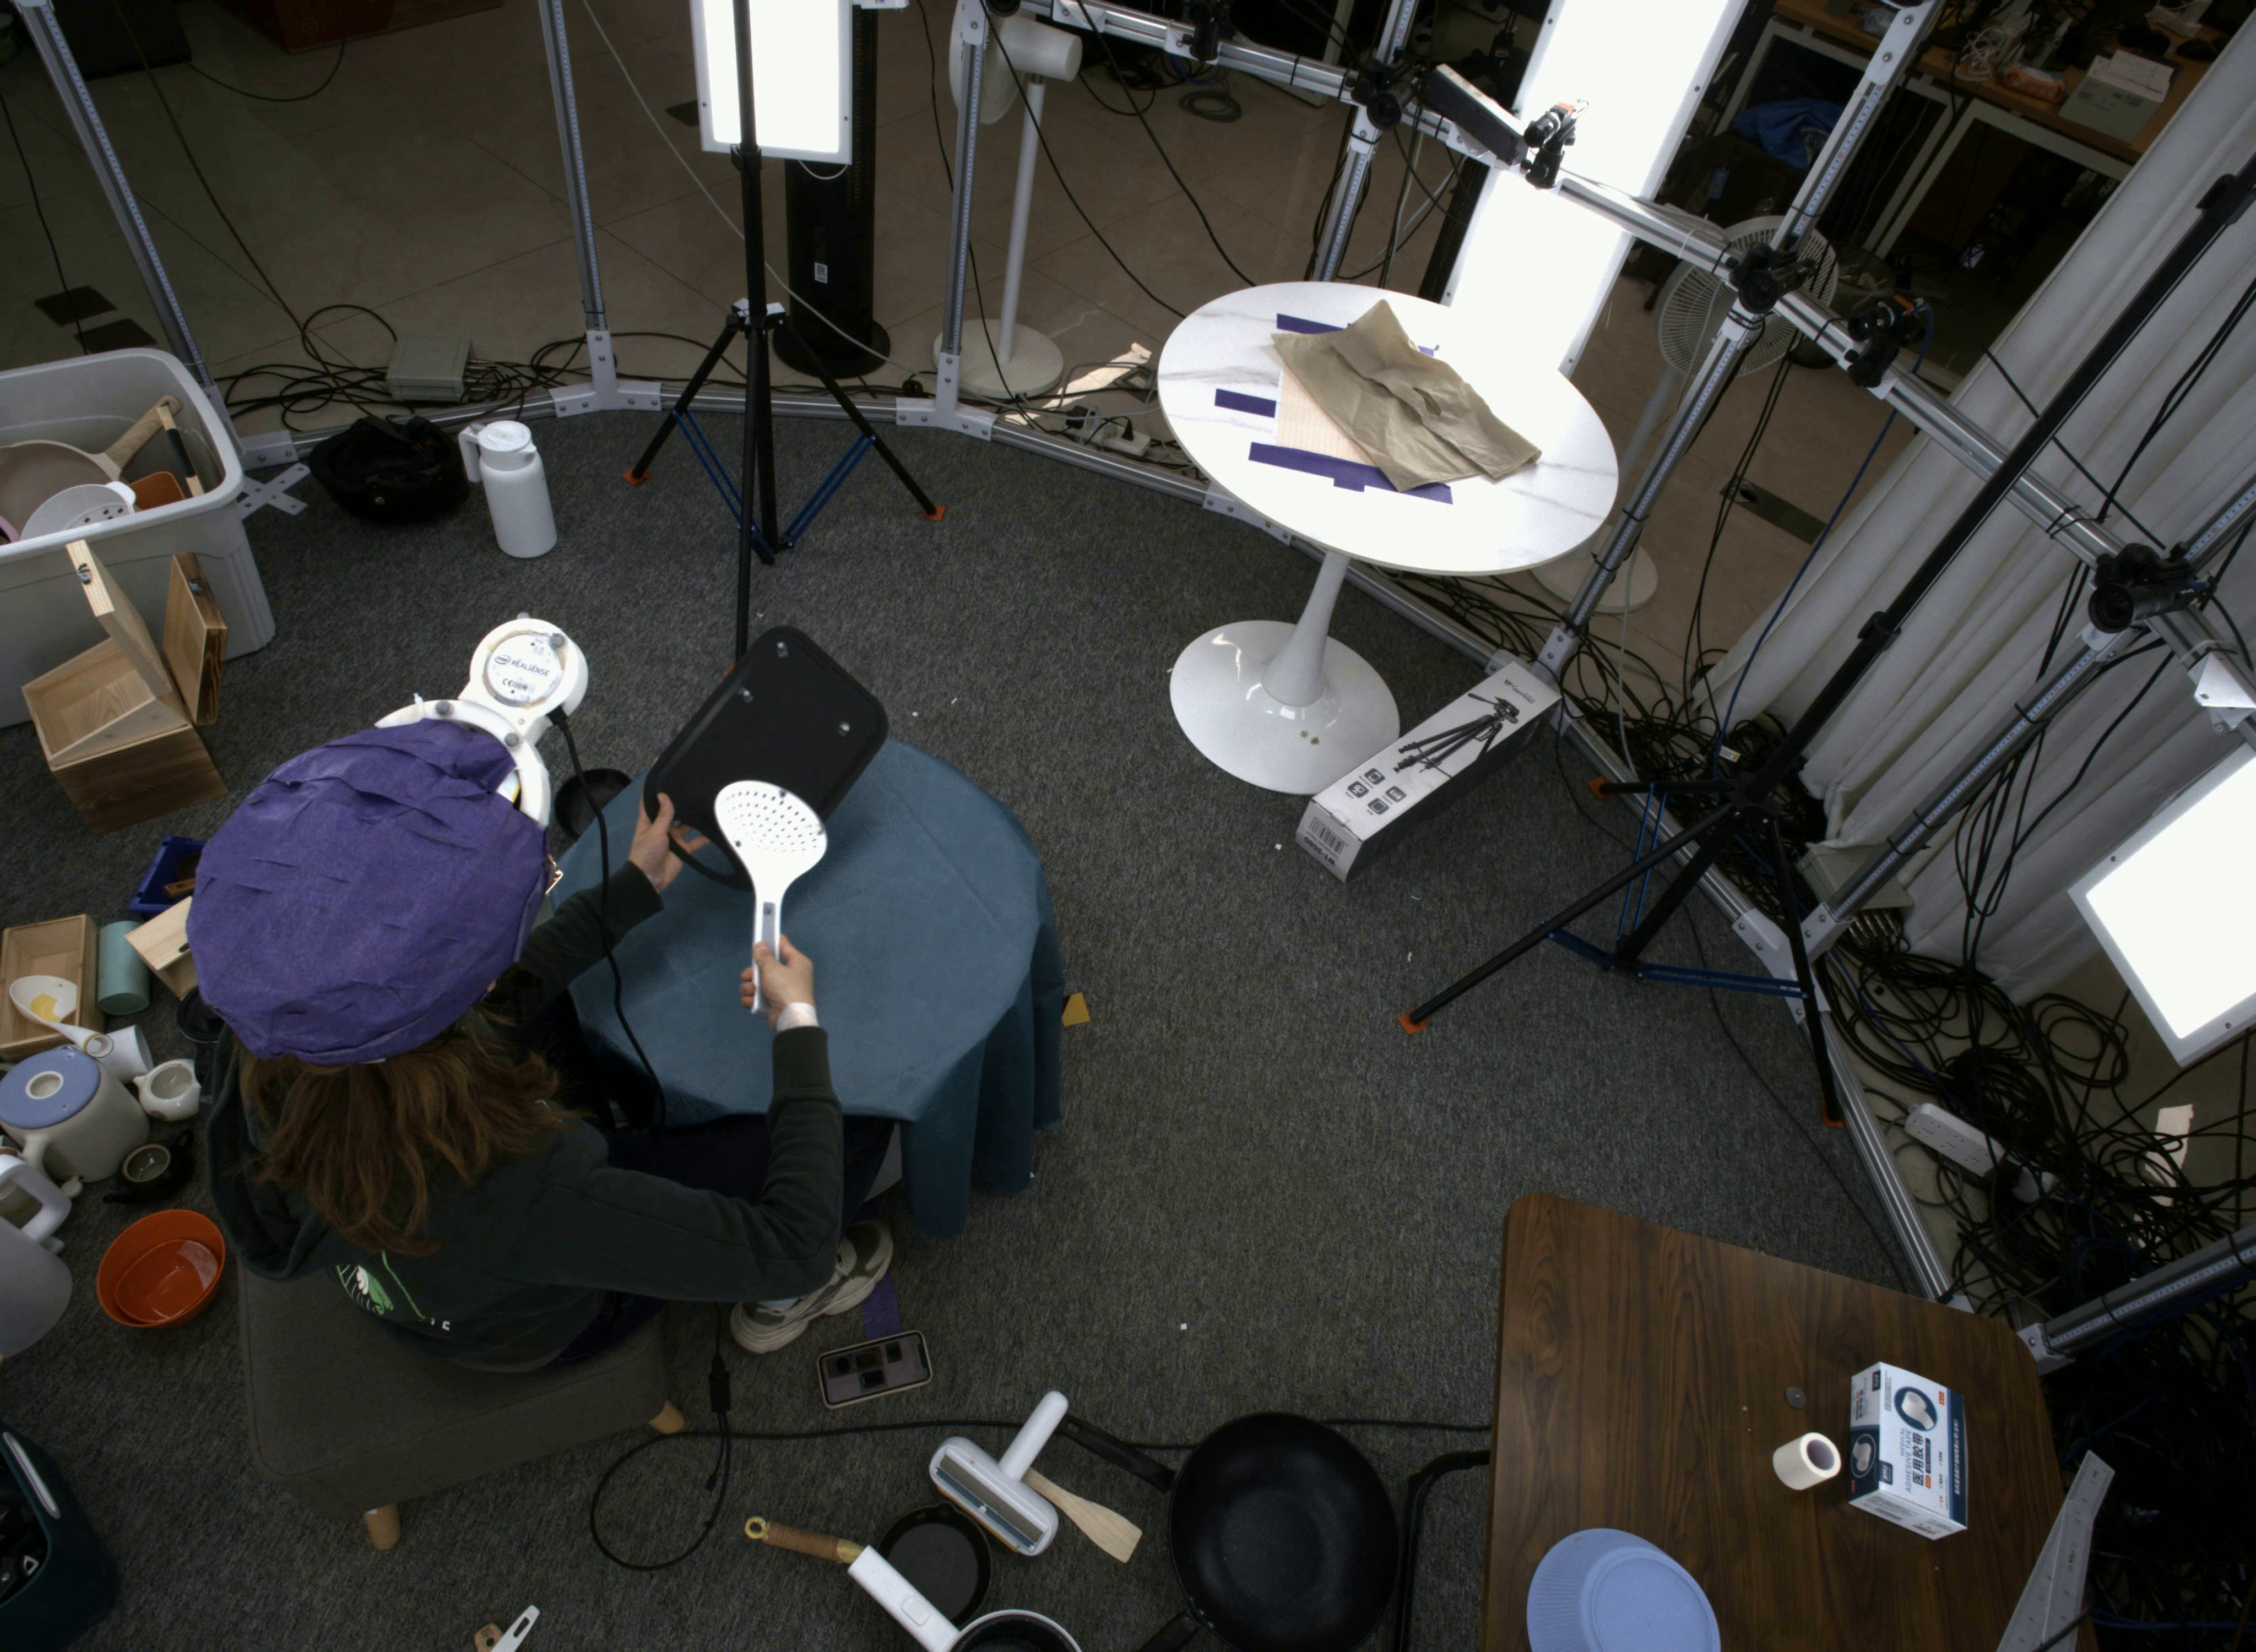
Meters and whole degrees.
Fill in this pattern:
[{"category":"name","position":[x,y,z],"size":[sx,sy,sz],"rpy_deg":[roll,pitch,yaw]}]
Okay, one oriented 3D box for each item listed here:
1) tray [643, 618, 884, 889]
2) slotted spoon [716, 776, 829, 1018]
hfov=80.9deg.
[{"category":"tray","position":[-0.449,-0.086,1.604],"size":[0.218,0.009,0.324],"rpy_deg":[45,63,-28]},{"category":"slotted spoon","position":[-0.394,0.069,1.417],"size":[0.139,0.046,0.339],"rpy_deg":[20,31,-29]}]
